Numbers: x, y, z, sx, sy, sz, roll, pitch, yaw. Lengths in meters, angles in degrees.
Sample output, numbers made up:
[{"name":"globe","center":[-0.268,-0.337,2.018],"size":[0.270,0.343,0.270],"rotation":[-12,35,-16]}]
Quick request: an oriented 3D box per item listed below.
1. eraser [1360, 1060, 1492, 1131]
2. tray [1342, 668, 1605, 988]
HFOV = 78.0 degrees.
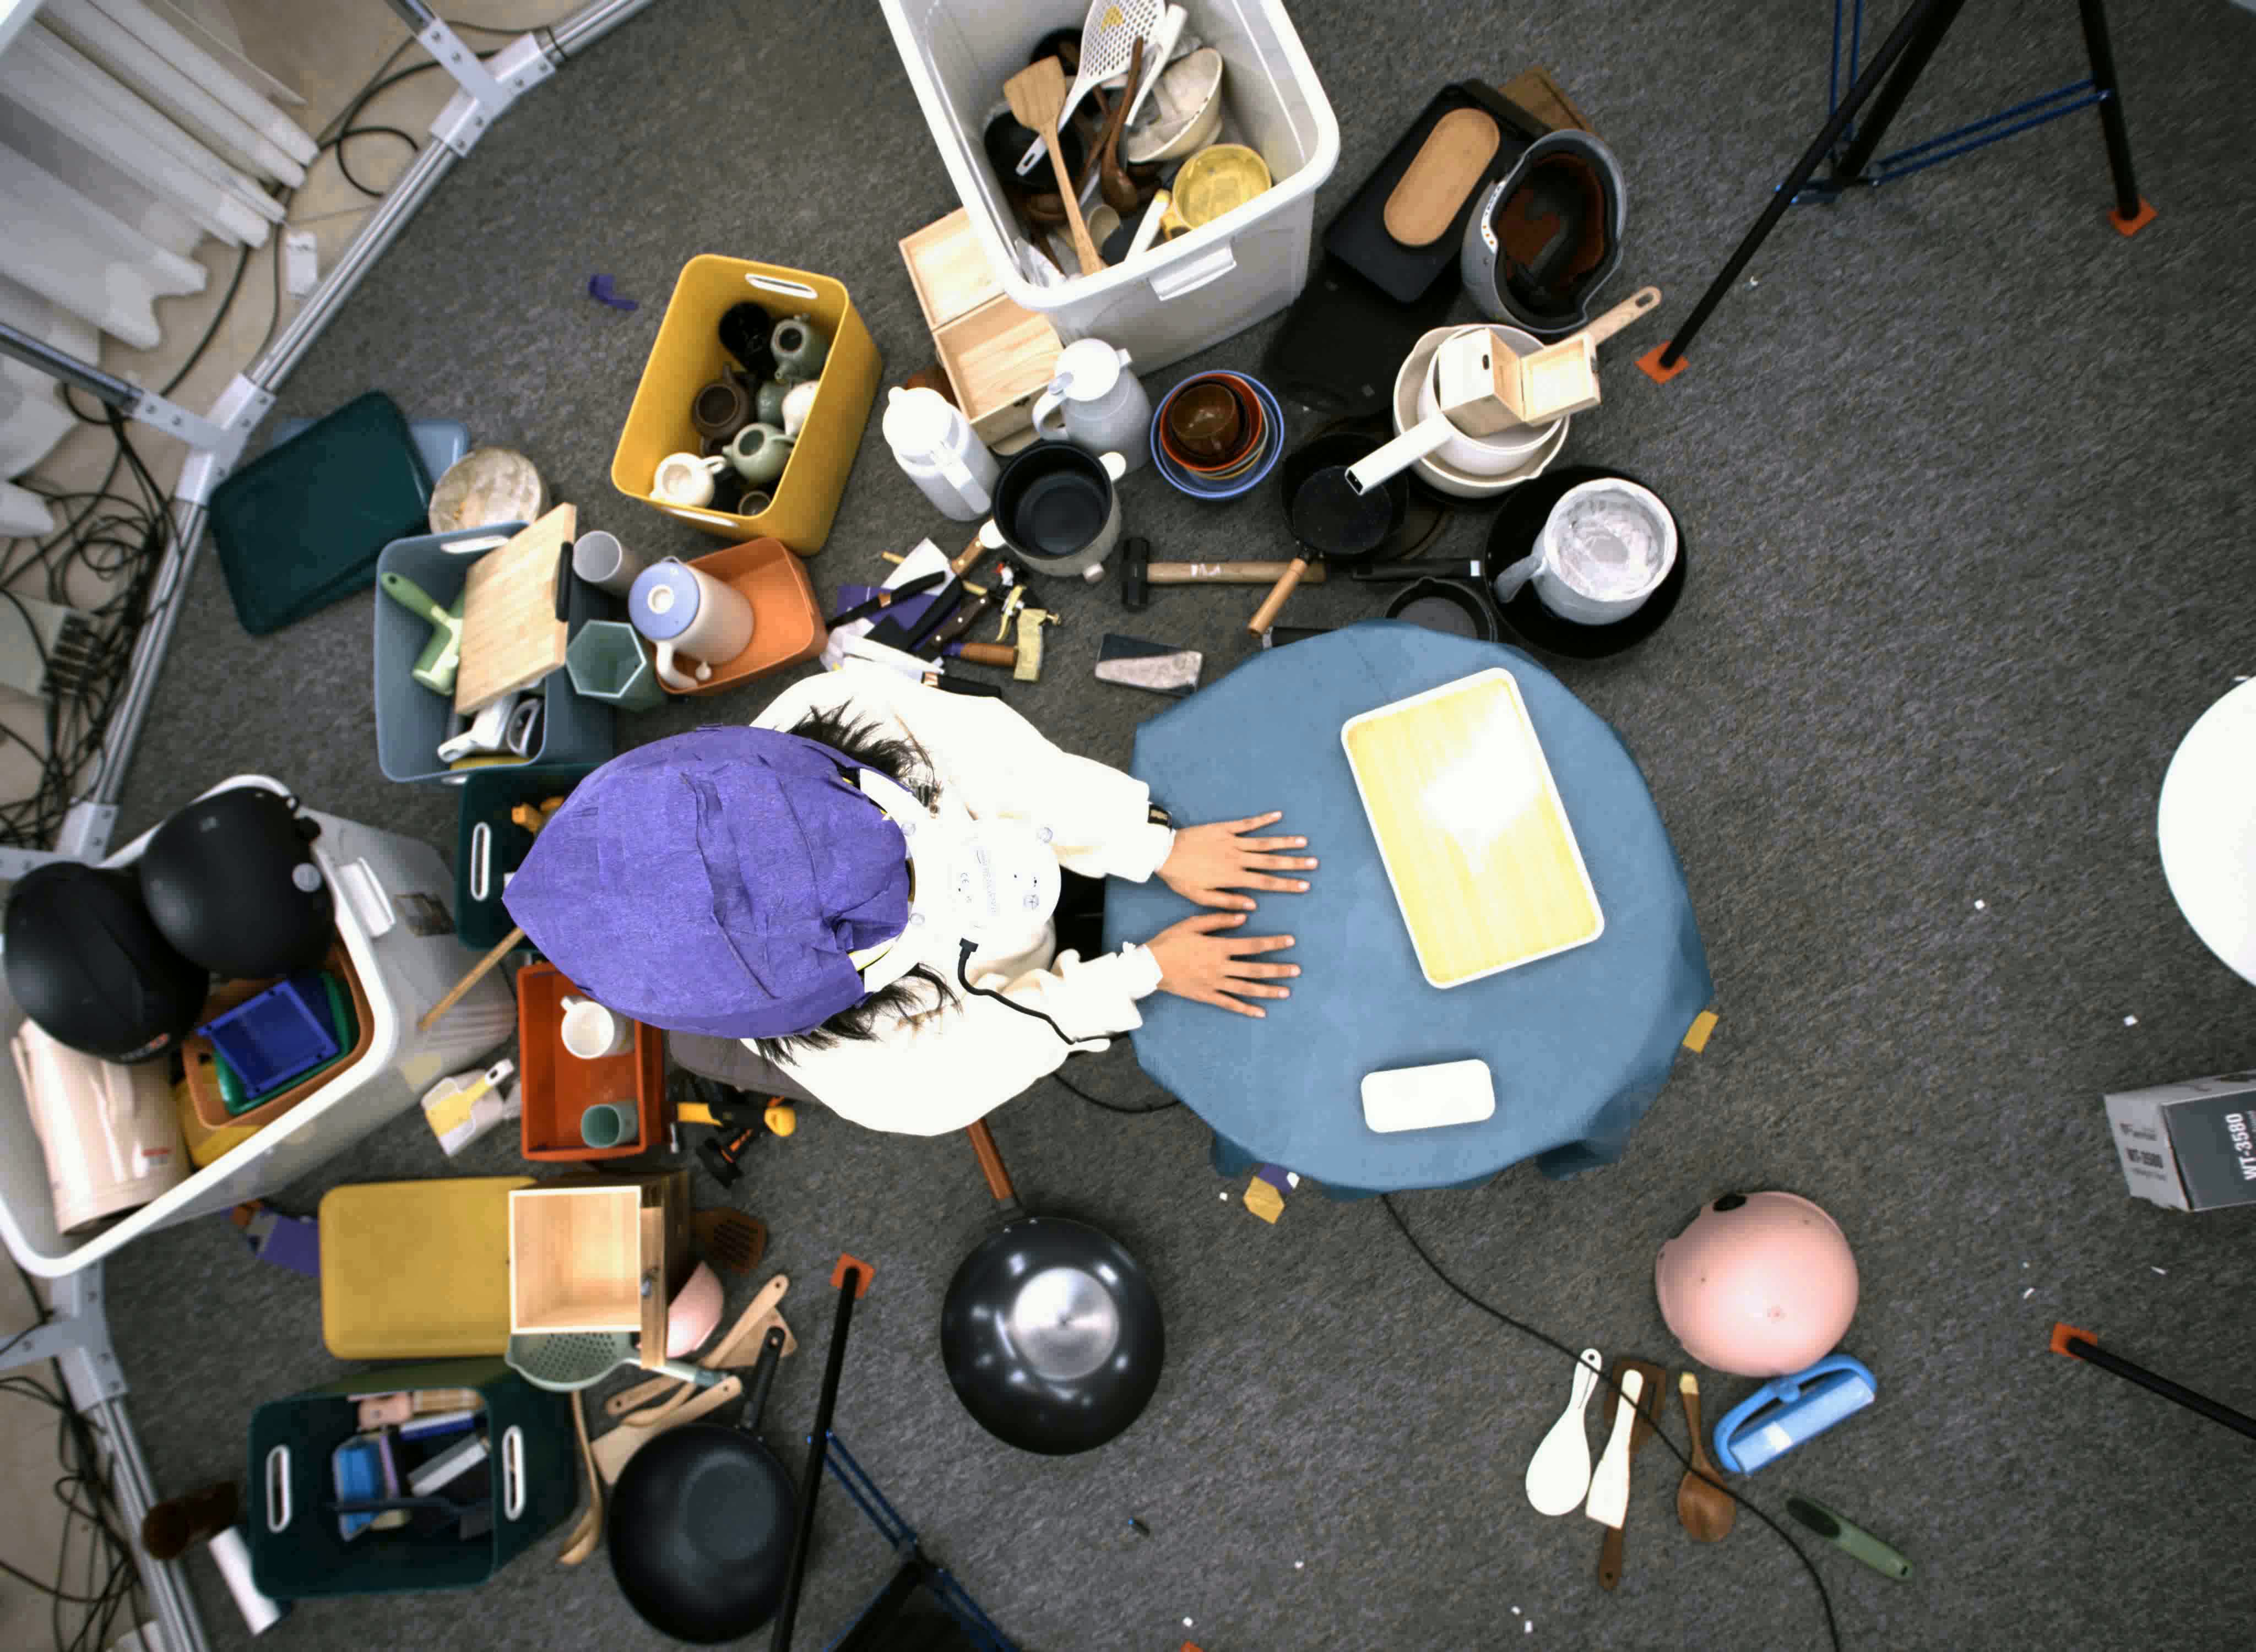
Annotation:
[{"name":"eraser","center":[0.307,0.275,1.427],"size":[0.132,0.034,0.063],"rotation":[-8,84,9]},{"name":"tray","center":[0.357,0.000,1.434],"size":[0.192,0.027,0.298],"rotation":[-19,84,9]}]
